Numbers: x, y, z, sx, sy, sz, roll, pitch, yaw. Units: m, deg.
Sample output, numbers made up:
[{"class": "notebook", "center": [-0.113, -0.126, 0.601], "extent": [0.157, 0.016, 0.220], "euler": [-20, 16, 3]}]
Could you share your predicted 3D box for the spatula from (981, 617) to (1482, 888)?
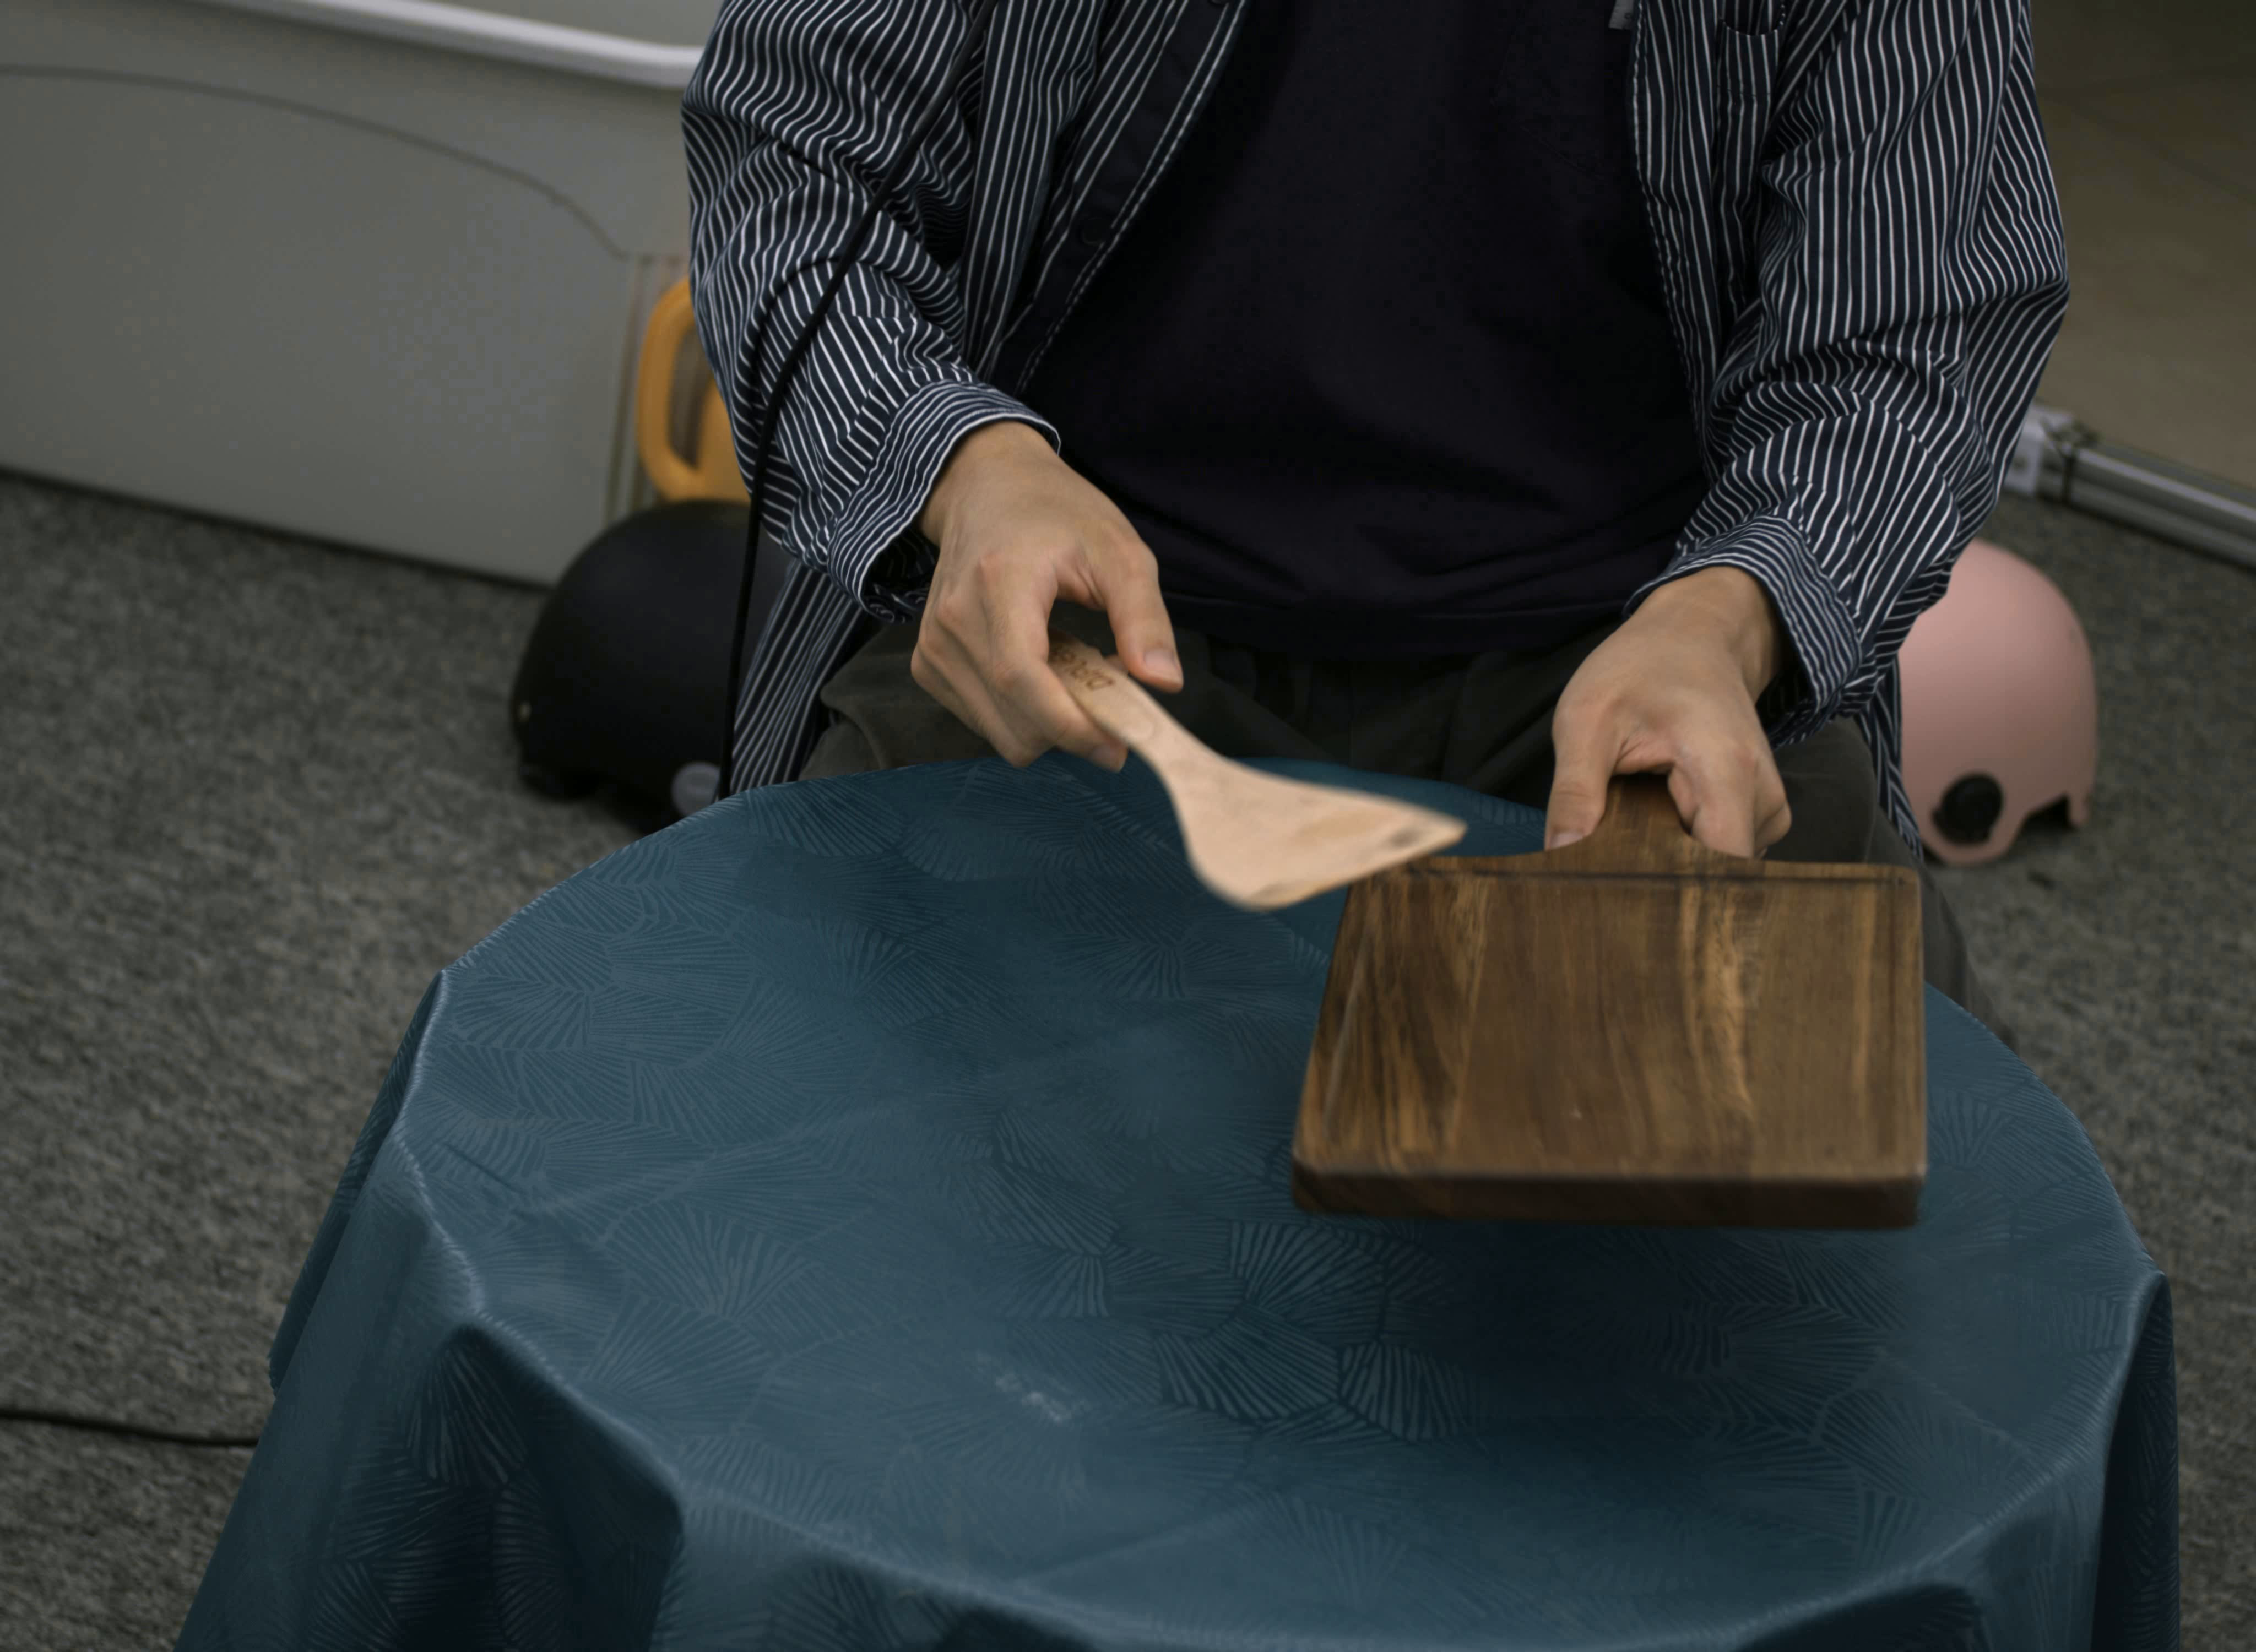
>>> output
[{"class": "spatula", "center": [0.020, -0.032, 1.832], "extent": [0.079, 0.016, 0.330], "euler": [-17, 23, -19]}]

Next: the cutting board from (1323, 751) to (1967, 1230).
[{"class": "cutting board", "center": [0.179, 0.048, 1.783], "extent": [0.201, 0.023, 0.353], "euler": [1, 22, 9]}]
